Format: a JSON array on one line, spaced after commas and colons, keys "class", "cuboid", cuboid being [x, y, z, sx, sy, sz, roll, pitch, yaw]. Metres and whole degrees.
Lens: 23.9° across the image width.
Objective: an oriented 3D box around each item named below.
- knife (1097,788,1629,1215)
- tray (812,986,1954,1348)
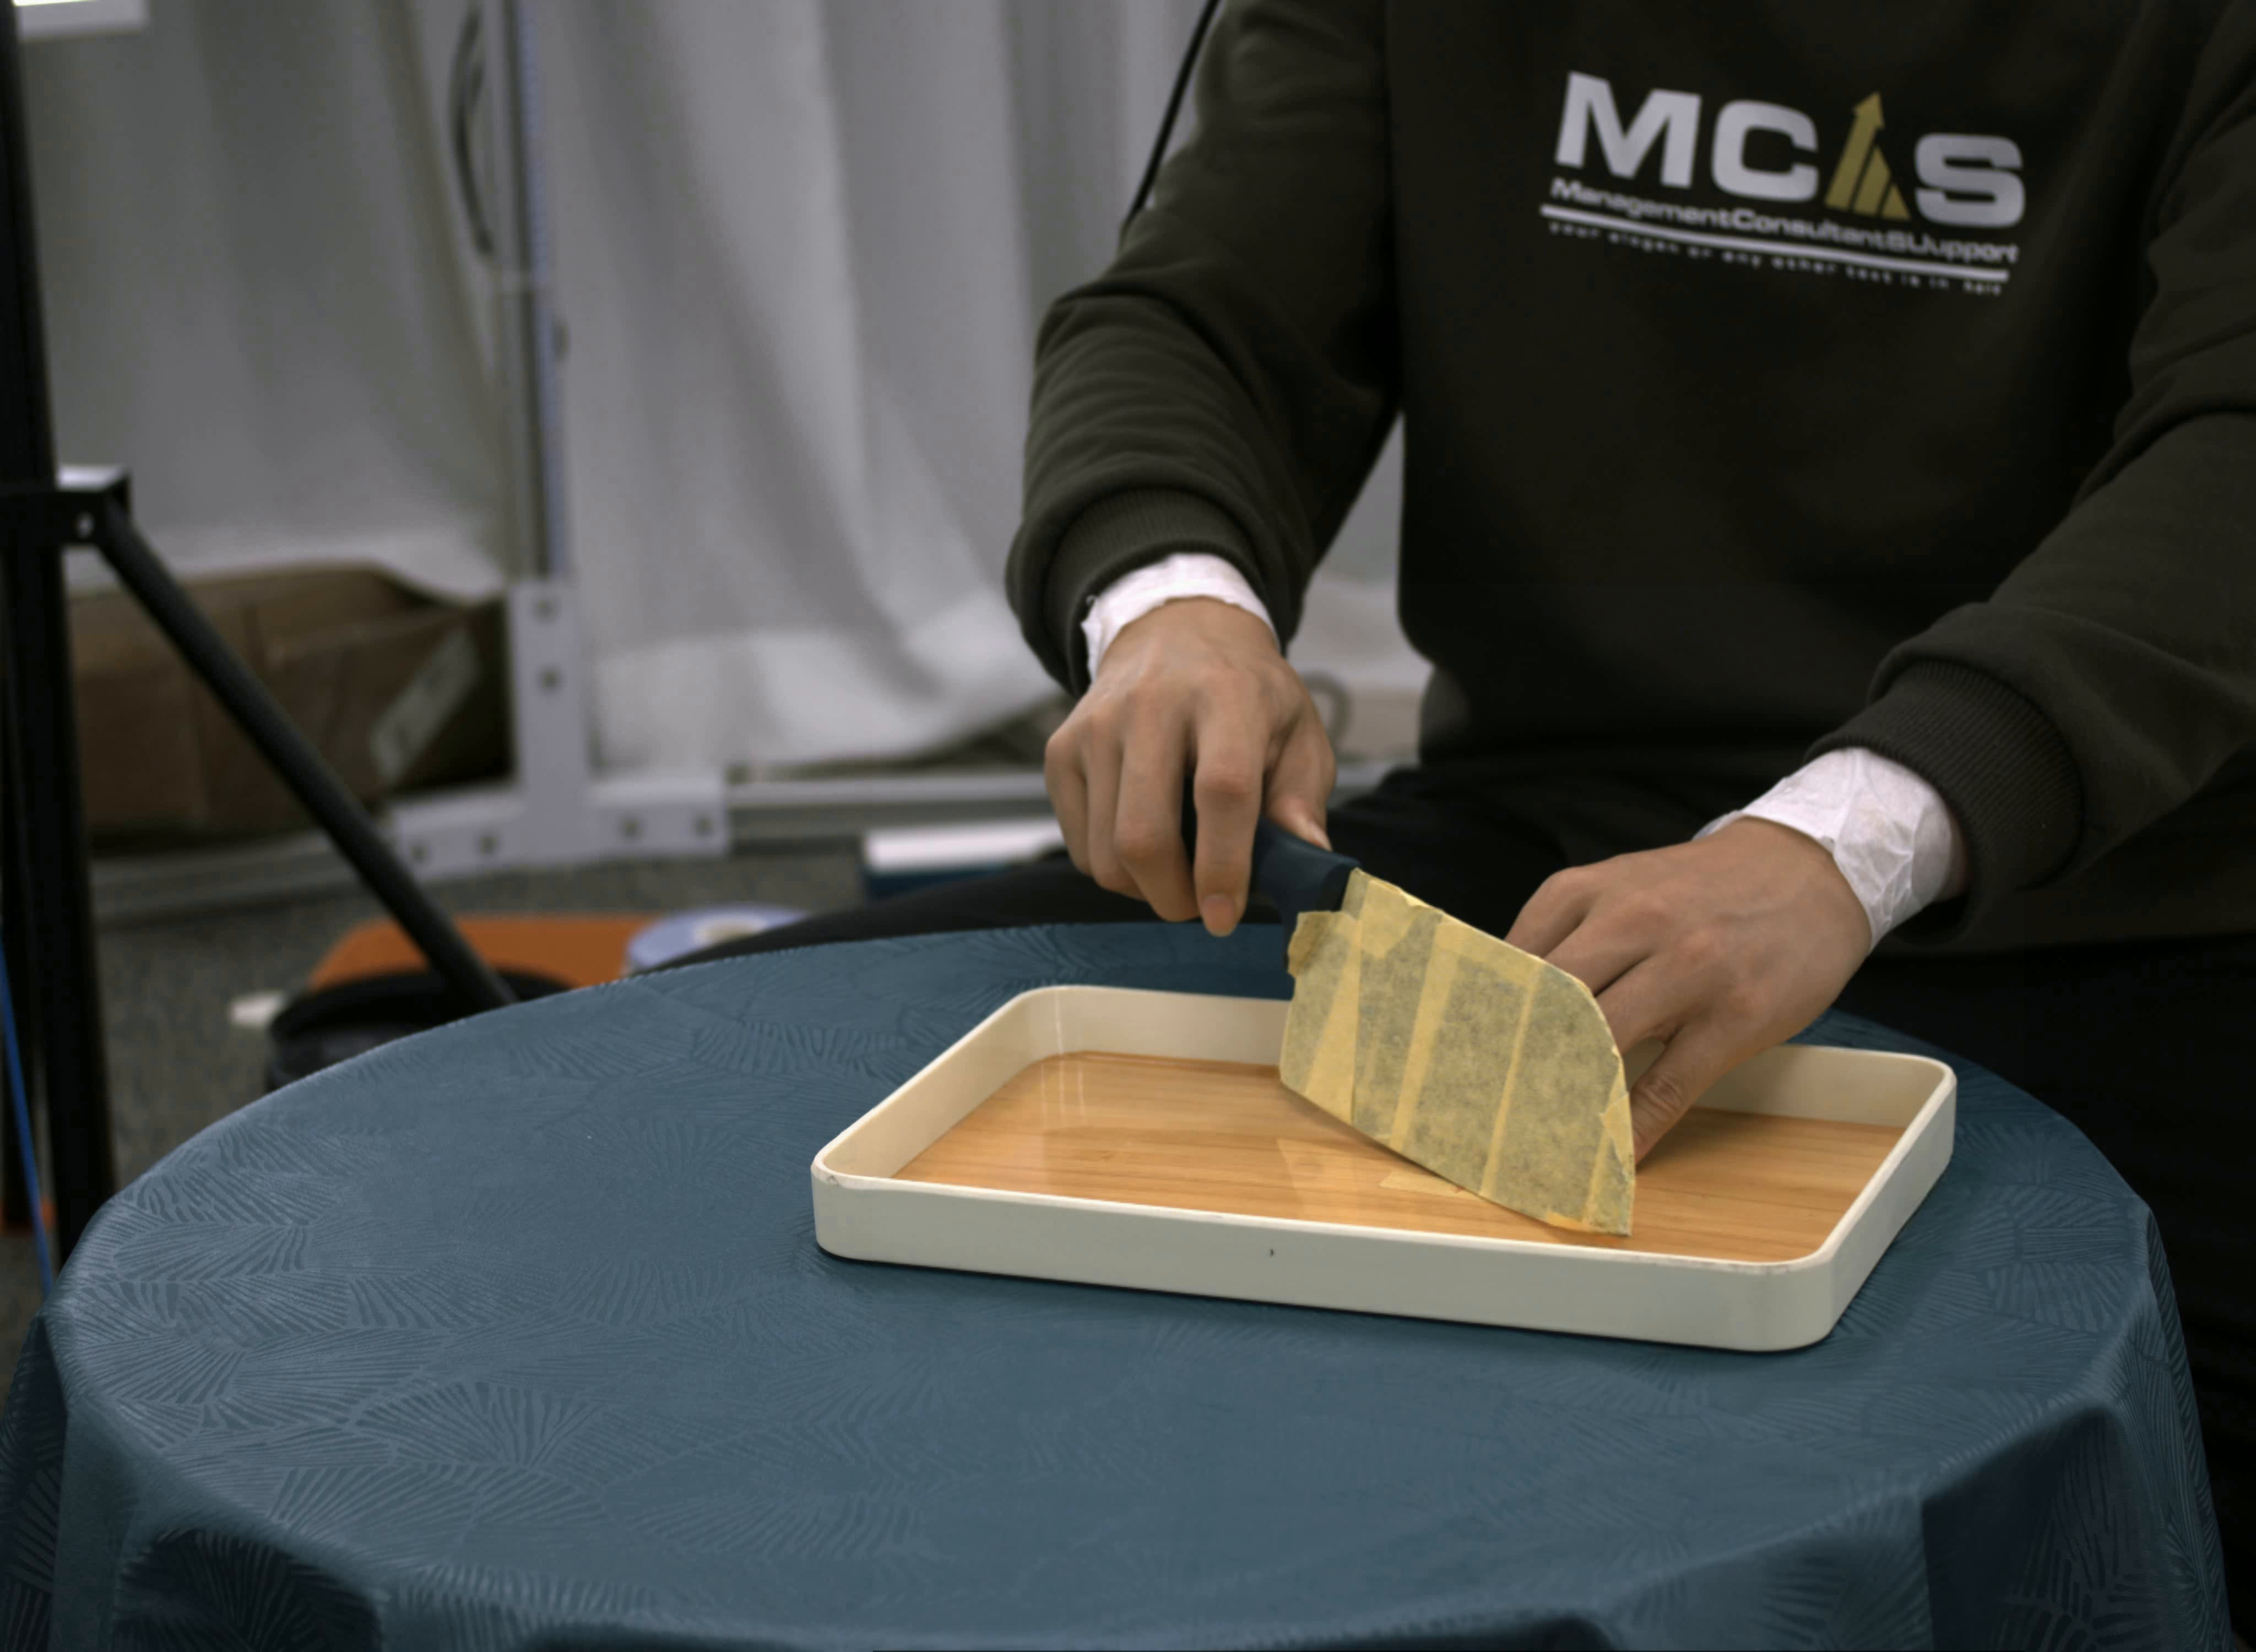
[{"class": "knife", "cuboid": [0.066, 0.049, 1.586, 0.026, 0.081, 0.296, 10, 13, -33]}, {"class": "tray", "cuboid": [0.077, 0.096, 1.543, 0.304, 0.027, 0.189, 5, 16, 22]}]
